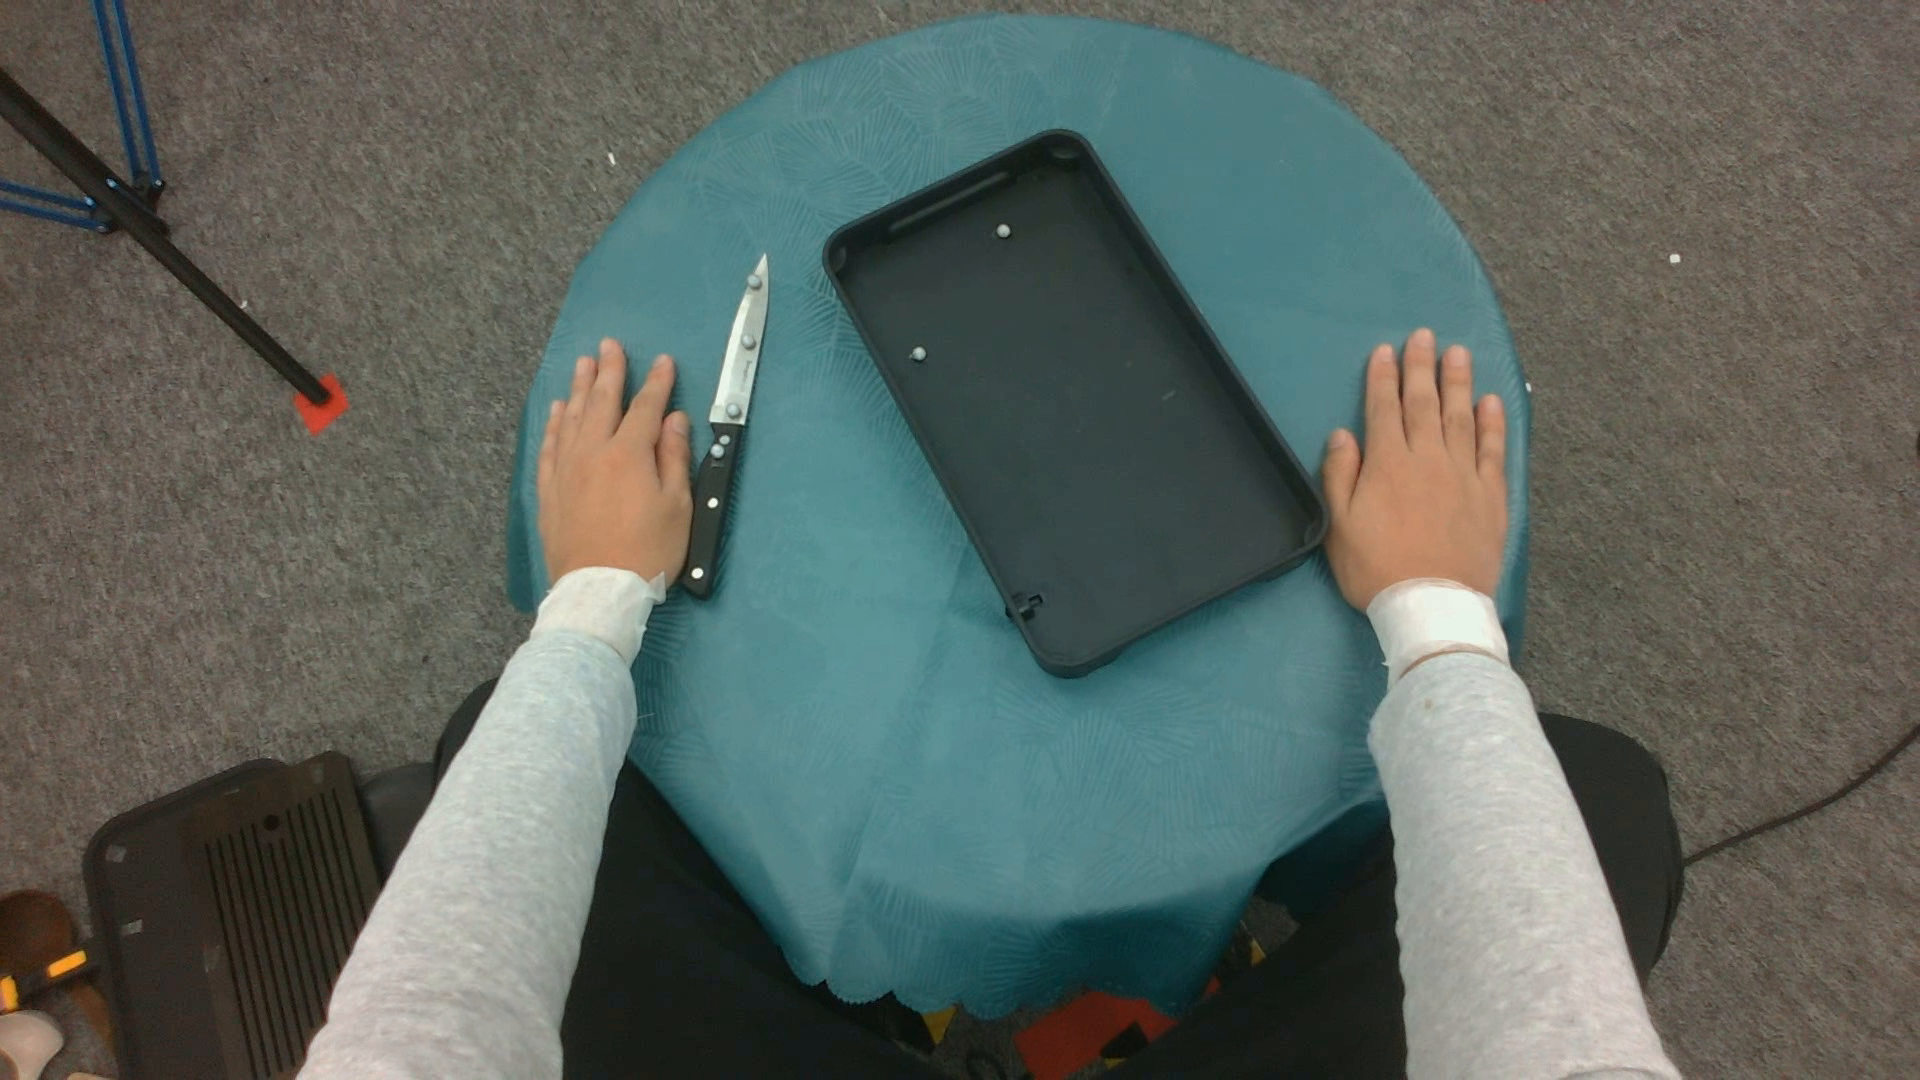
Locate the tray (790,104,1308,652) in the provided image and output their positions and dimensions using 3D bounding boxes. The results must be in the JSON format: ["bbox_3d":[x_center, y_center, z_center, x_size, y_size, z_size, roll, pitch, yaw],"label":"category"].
[{"bbox_3d":[0.045,-0.103,0.811,0.184,0.037,0.318,-28,70,-6],"label":"tray"}]

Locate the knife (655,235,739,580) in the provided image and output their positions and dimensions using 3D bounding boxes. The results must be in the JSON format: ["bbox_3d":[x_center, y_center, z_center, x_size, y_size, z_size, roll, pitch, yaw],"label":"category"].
[{"bbox_3d":[-0.154,-0.086,0.832,0.024,0.016,0.239,4,66,4],"label":"knife"}]
